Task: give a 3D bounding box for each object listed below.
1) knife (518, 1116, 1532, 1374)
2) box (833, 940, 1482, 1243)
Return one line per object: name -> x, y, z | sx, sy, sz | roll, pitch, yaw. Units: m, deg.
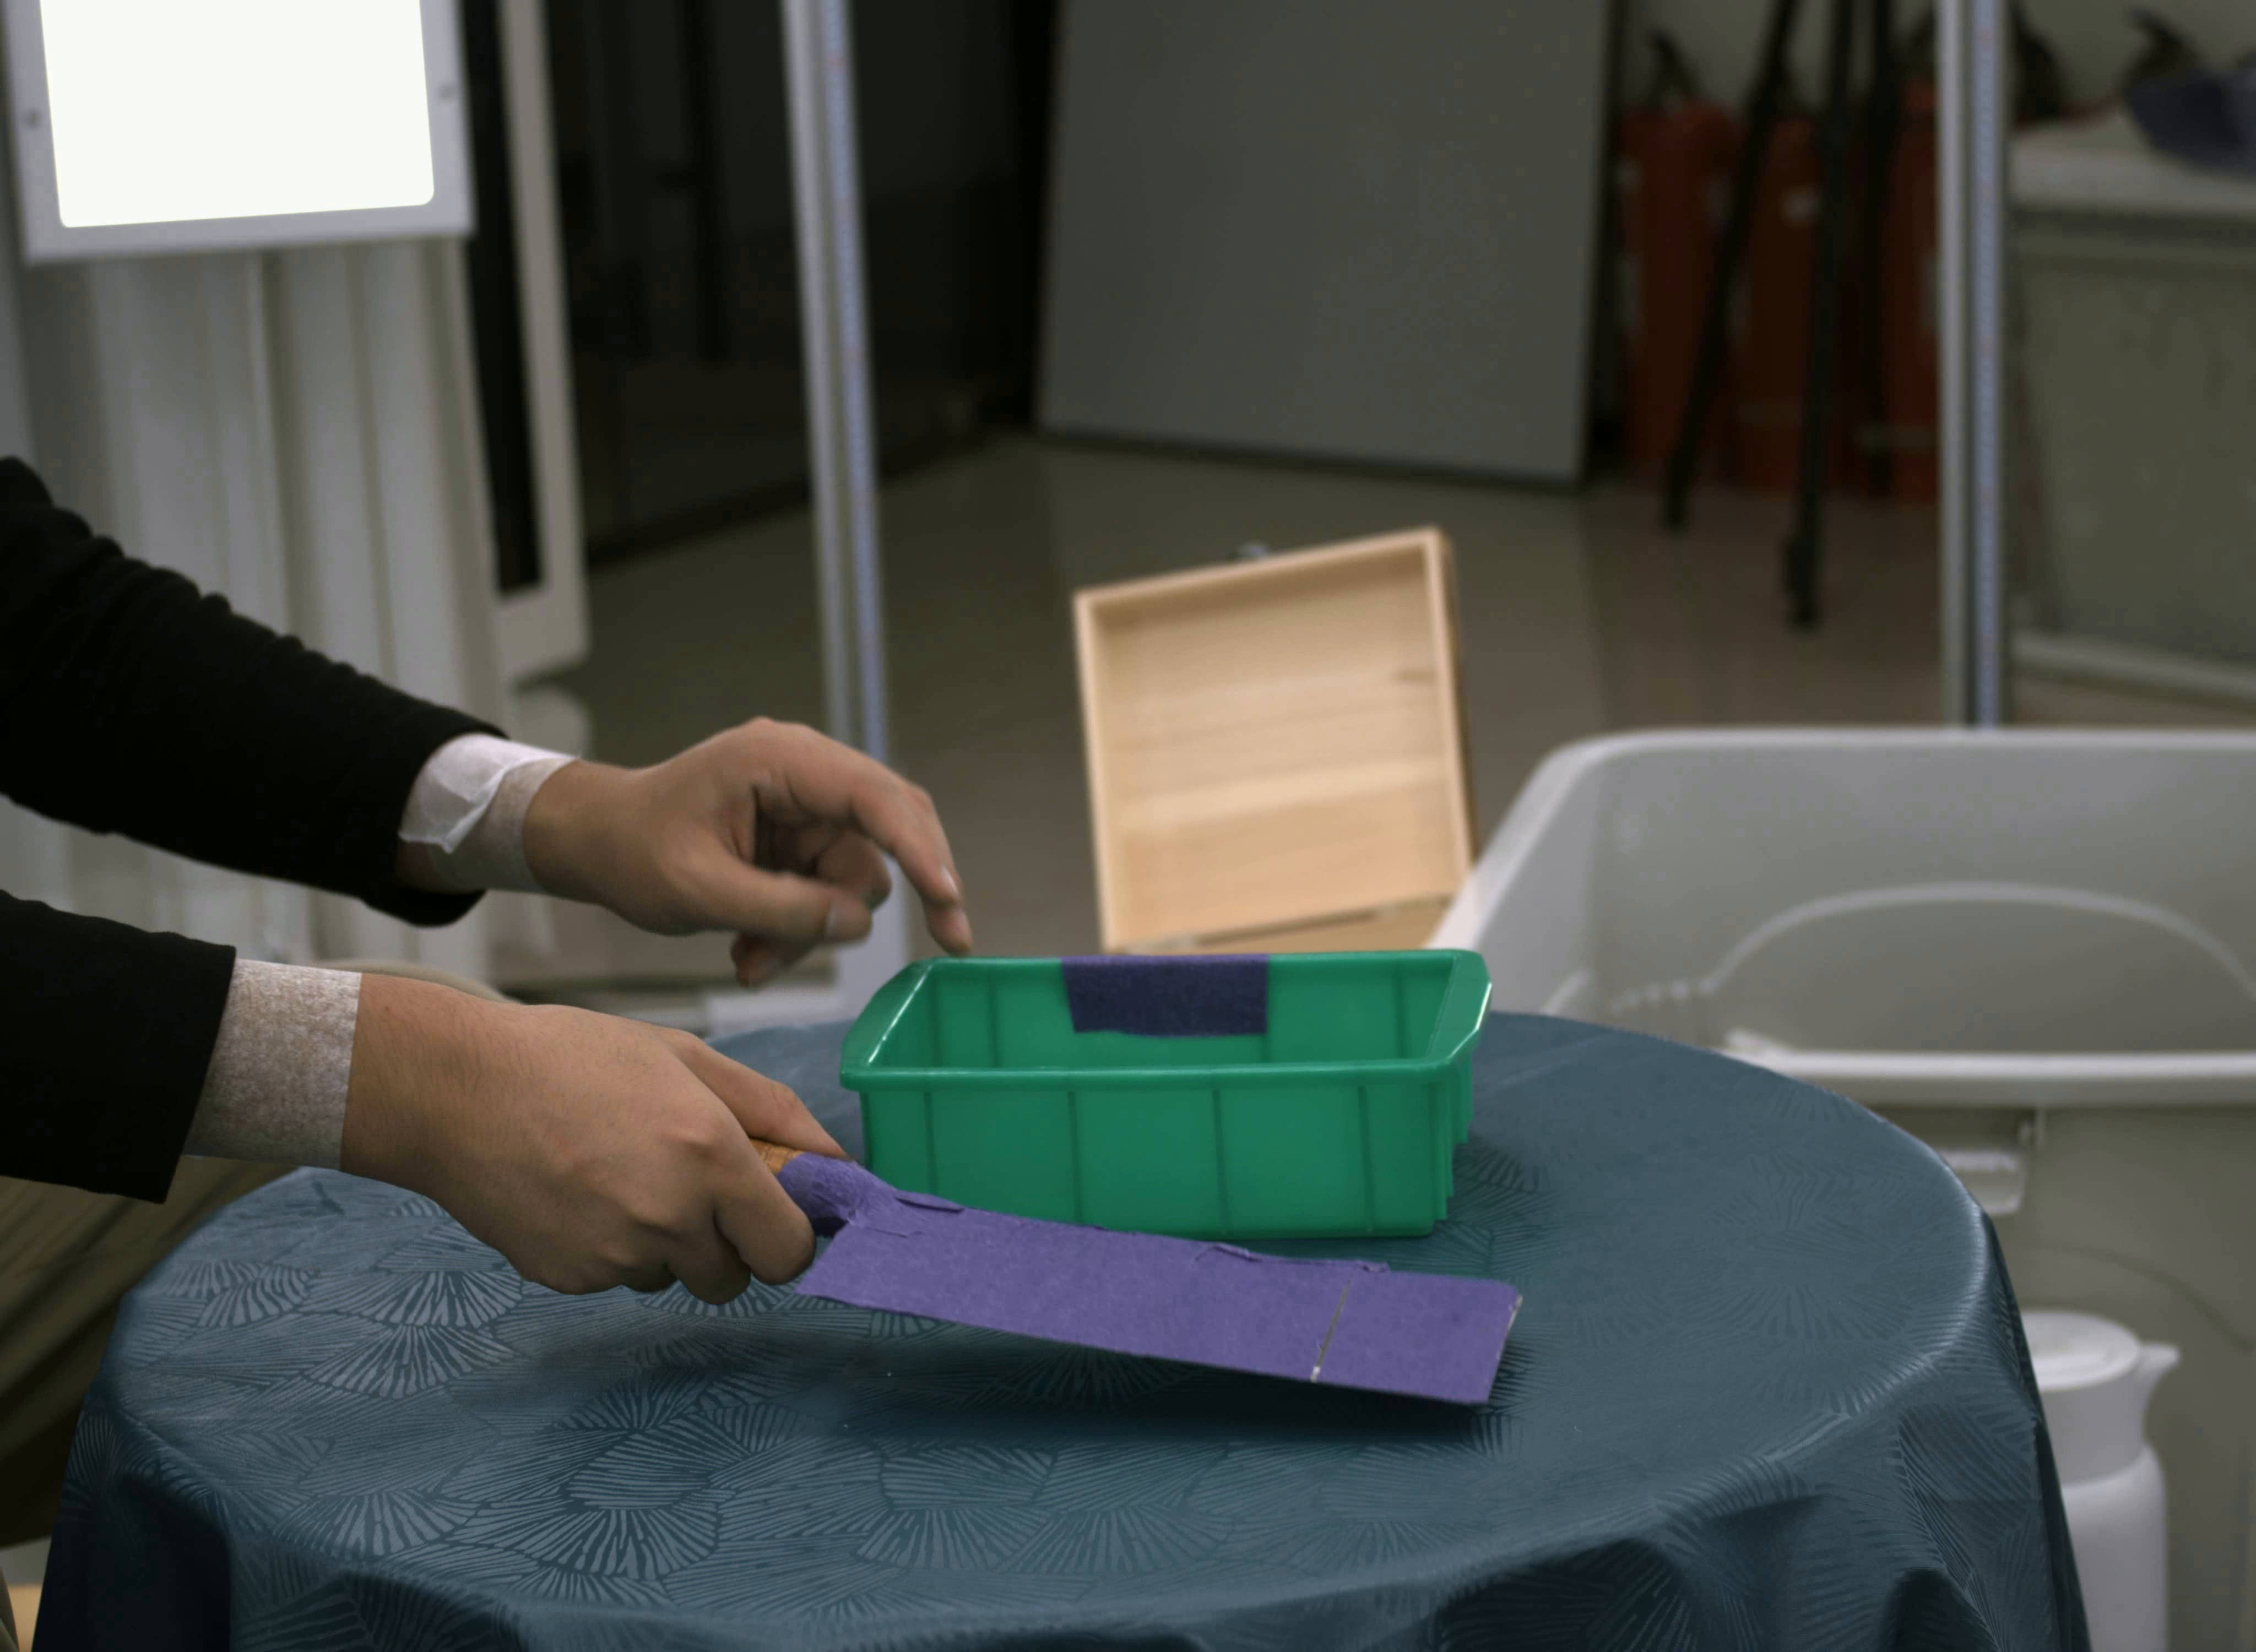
knife -> -0.038, 0.124, 1.597 | 0.313, 0.032, 0.103 | 5, 15, 12
box -> 0.013, 0.089, 1.767 | 0.209, 0.066, 0.138 | -4, 12, 10
